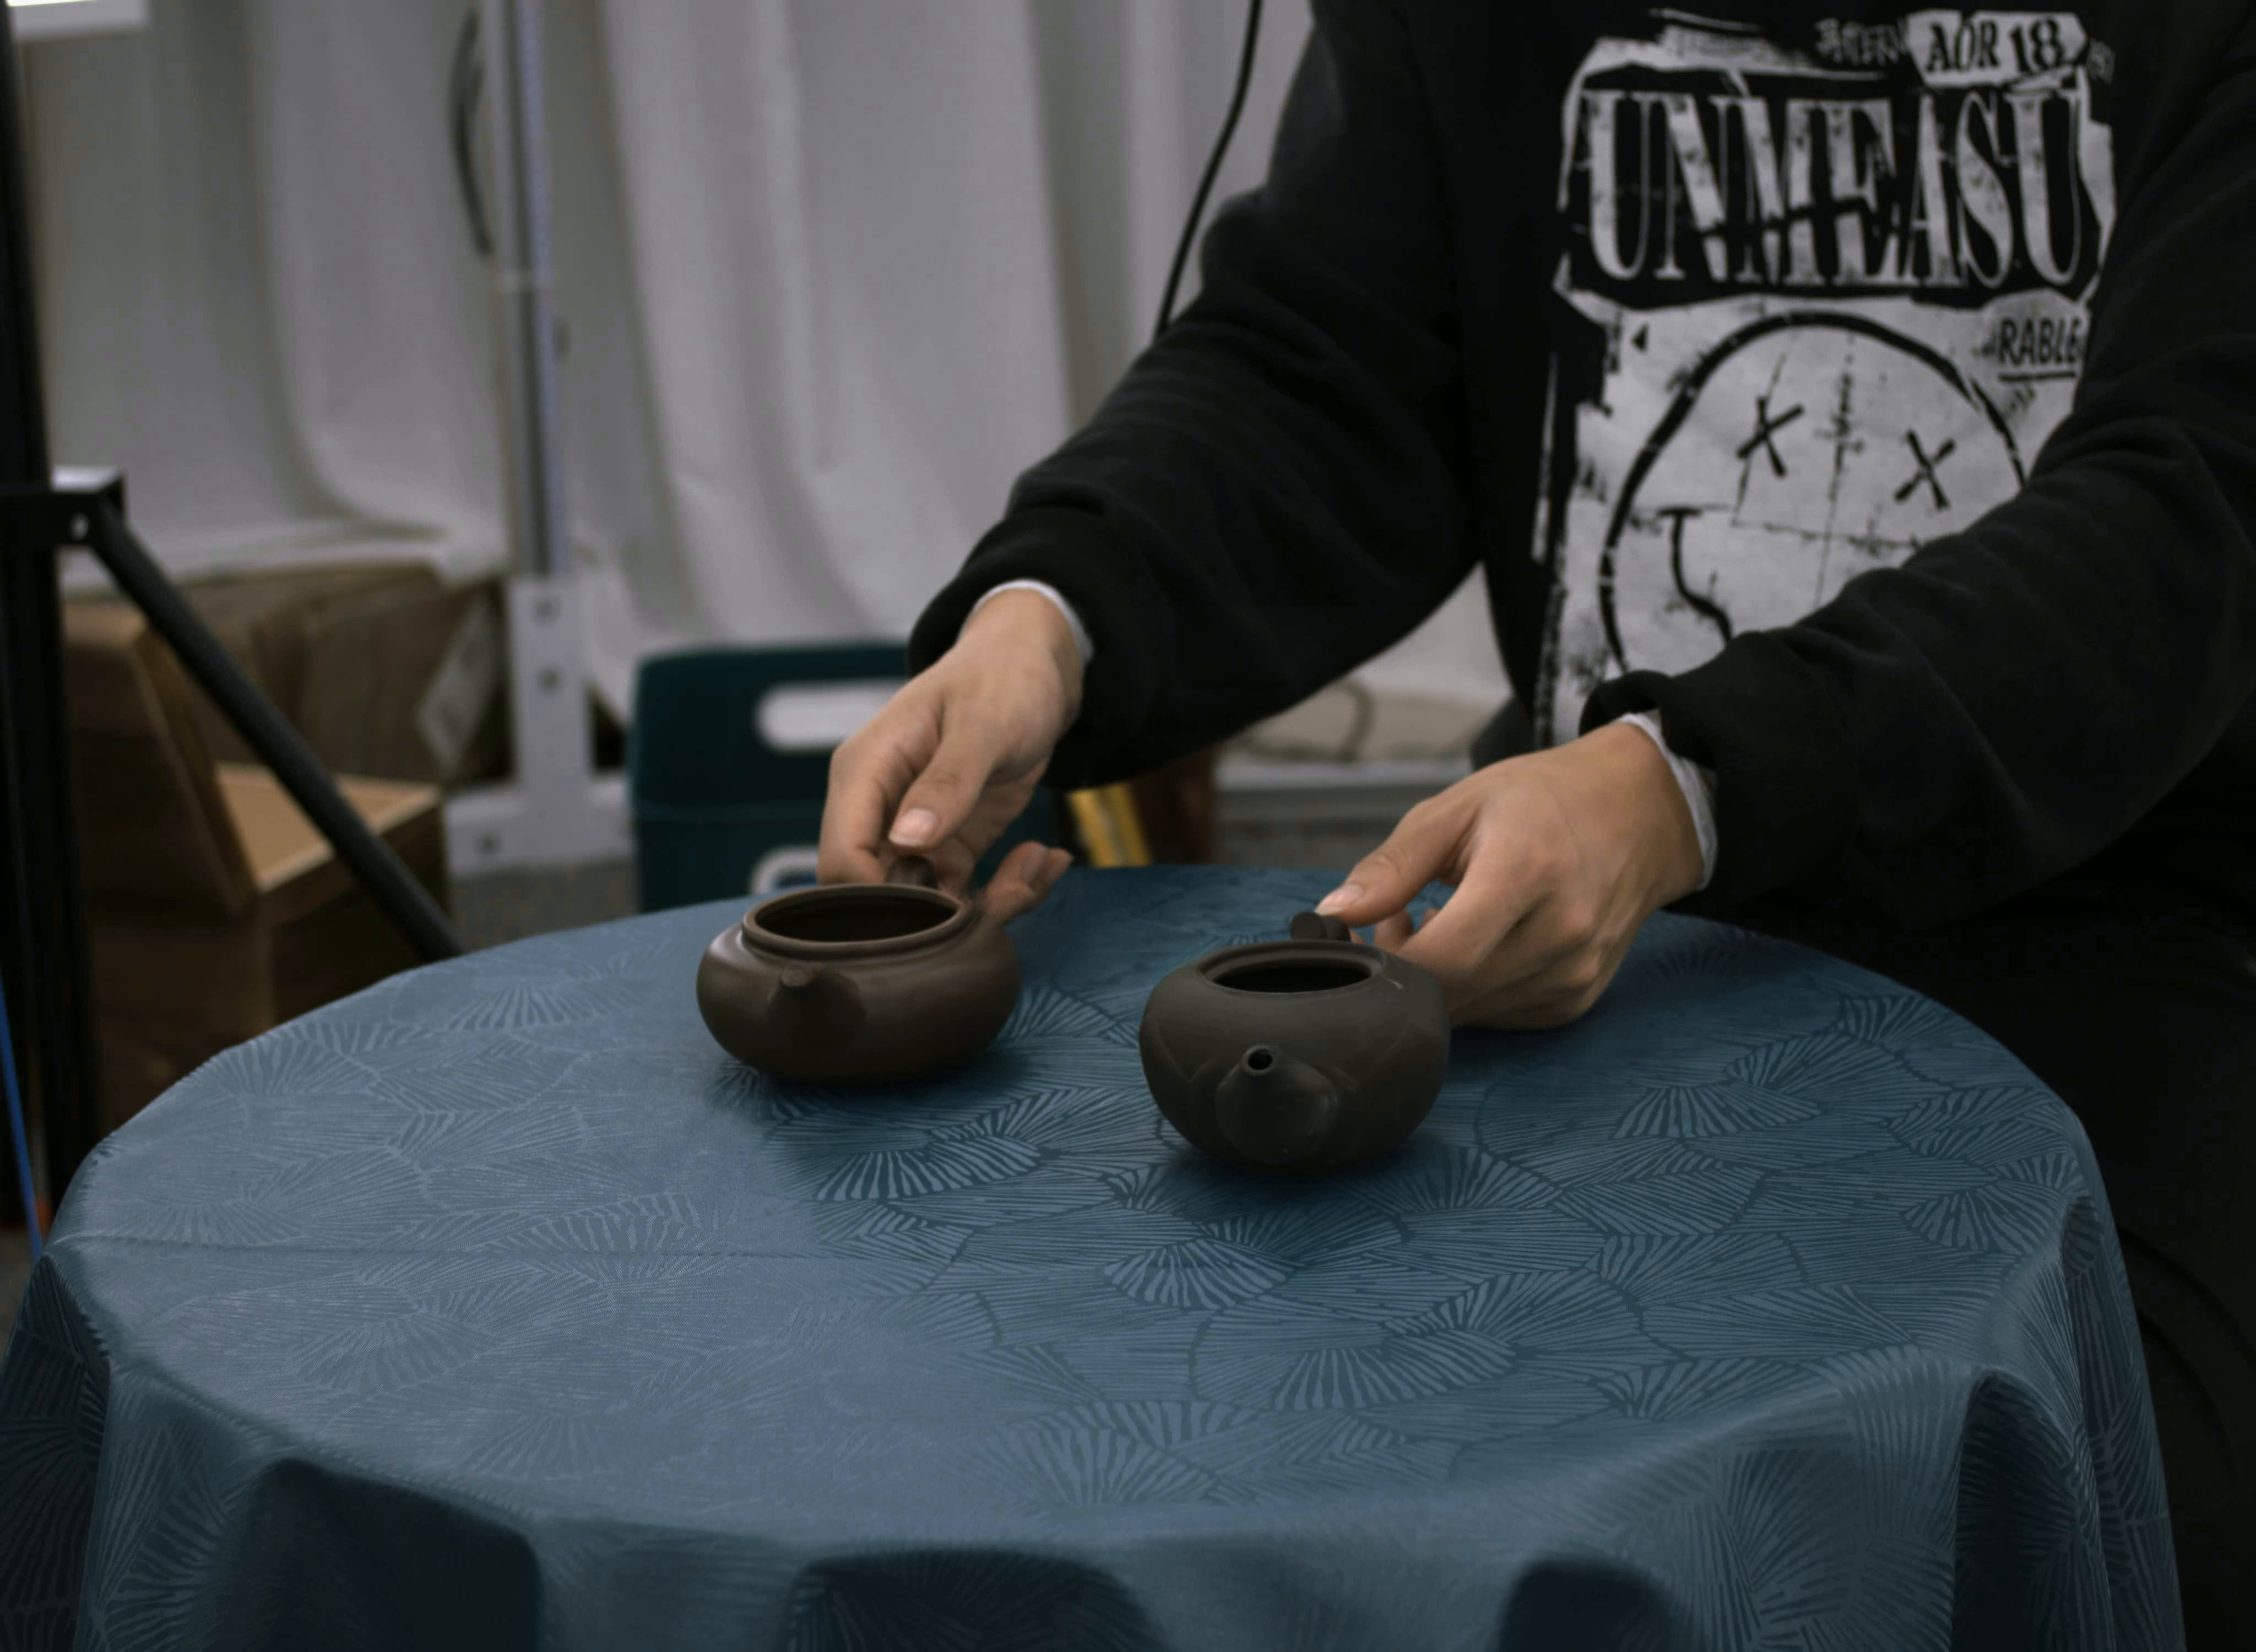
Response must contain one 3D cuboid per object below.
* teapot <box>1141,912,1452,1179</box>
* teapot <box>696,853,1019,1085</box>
[{"bbox_3d":[0.051,0.066,1.578,0.093,0.064,0.153,3,17,12],"label":"teapot"},{"bbox_3d":[-0.085,0.046,1.687,0.103,0.054,0.153,2,17,7],"label":"teapot"}]
